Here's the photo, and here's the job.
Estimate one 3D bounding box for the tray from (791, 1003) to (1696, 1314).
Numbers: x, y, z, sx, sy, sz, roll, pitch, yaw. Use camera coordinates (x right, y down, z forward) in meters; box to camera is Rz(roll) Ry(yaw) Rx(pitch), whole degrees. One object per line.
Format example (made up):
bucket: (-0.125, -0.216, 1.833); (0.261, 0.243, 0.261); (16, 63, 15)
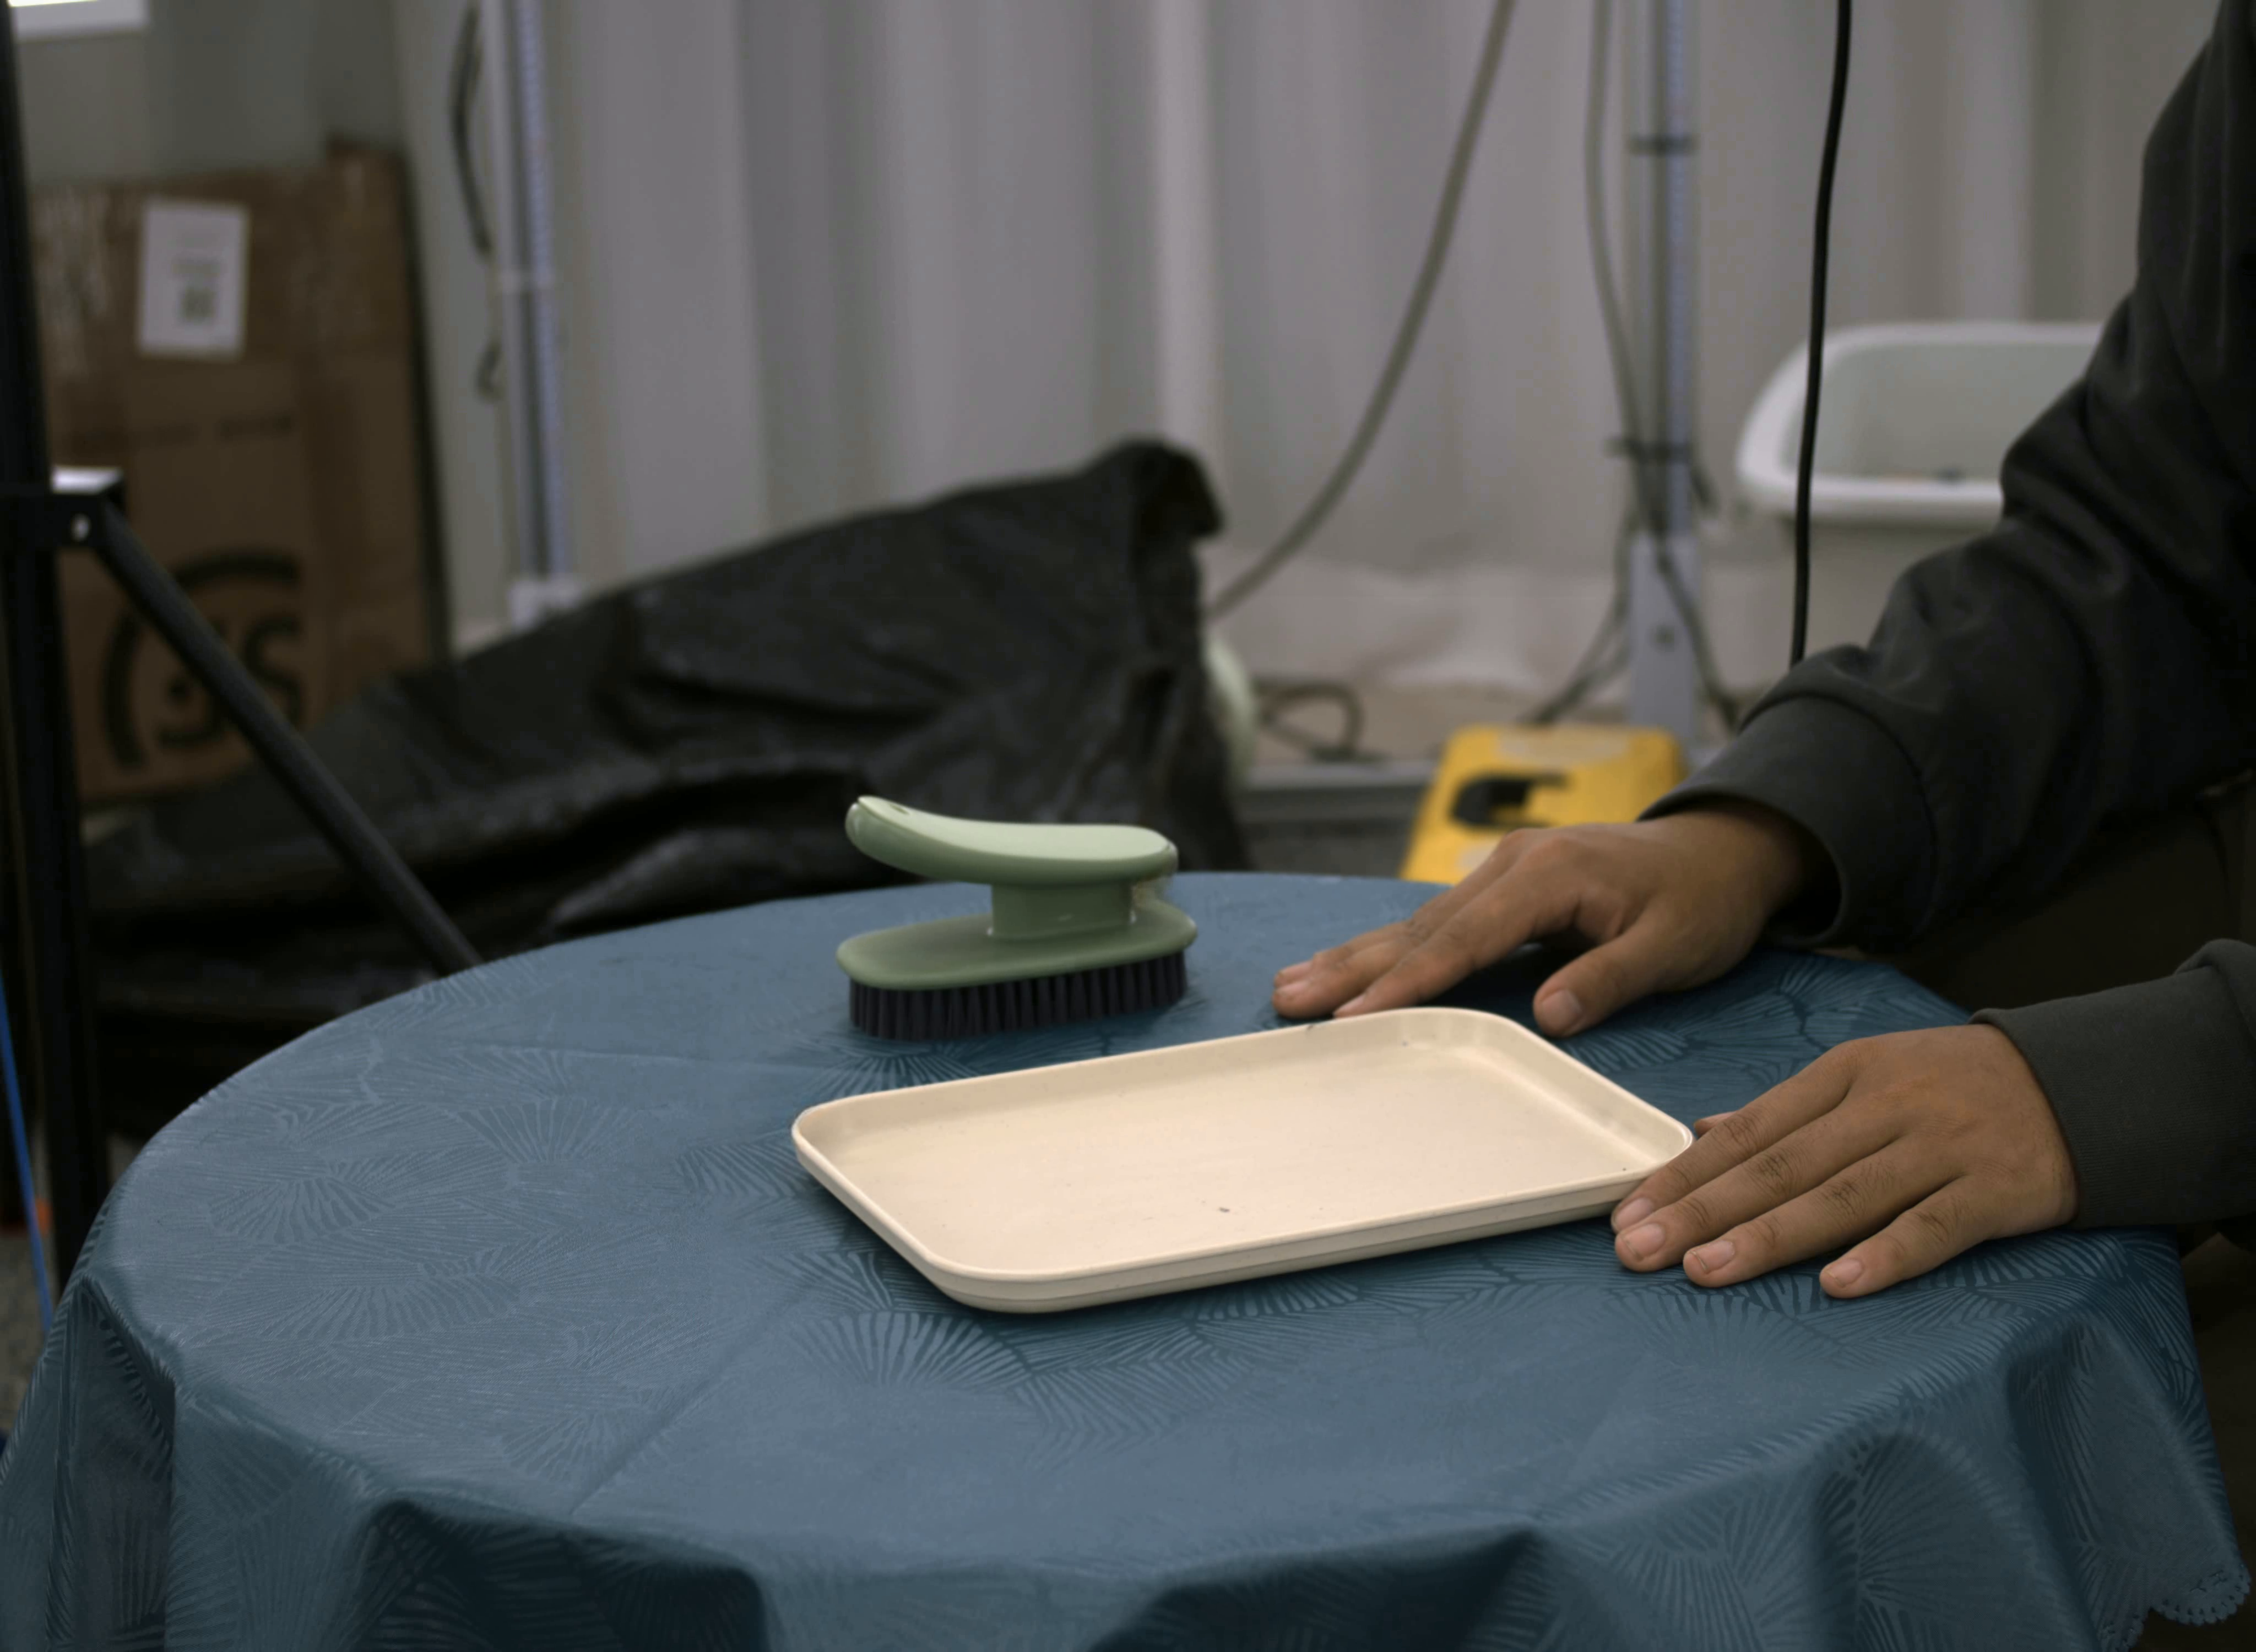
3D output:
tray: (0.033, 0.097, 1.557); (0.235, 0.017, 0.174); (-8, 17, -20)

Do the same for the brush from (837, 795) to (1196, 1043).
brush: (-0.038, 0.034, 1.728); (0.120, 0.076, 0.061); (7, 12, -22)
